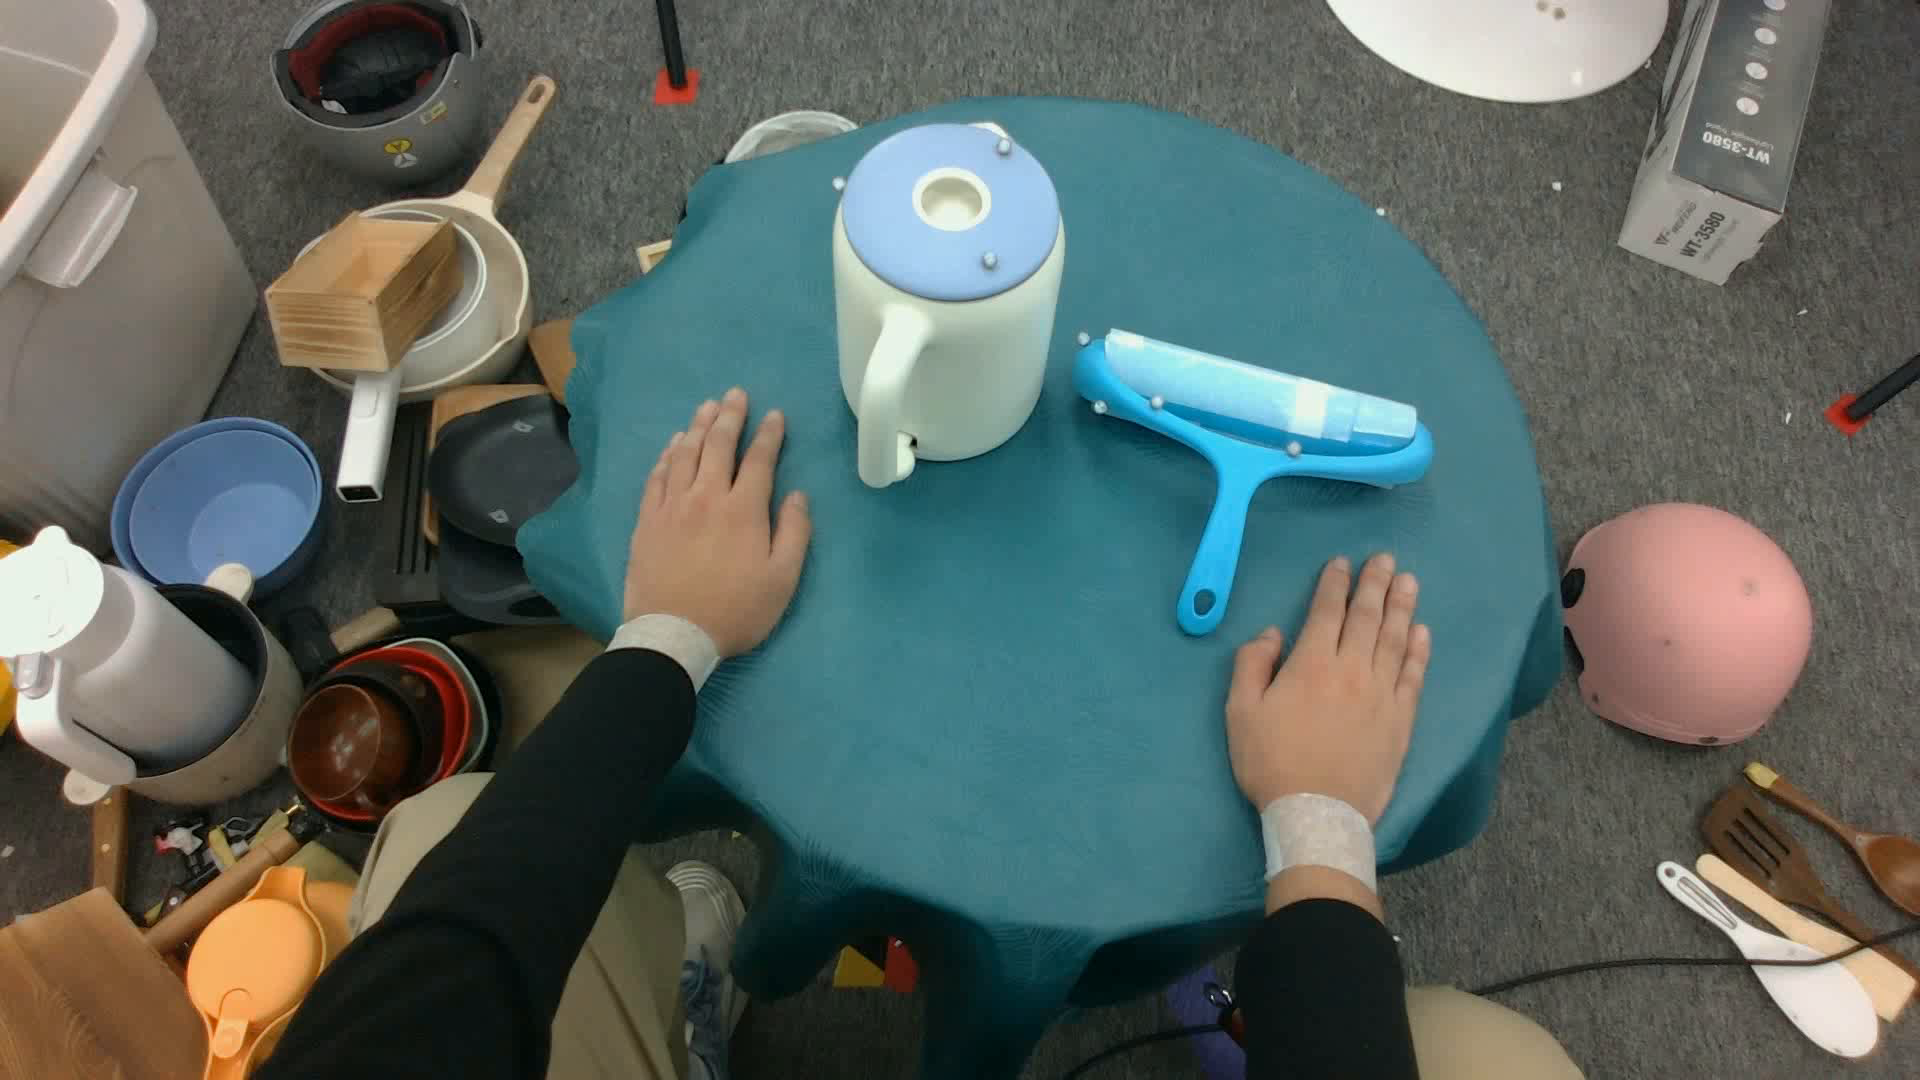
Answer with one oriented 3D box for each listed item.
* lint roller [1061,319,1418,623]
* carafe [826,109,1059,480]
[{"bbox_3d":[0.162,-0.039,0.835,0.229,0.067,0.181,15,58,0],"label":"lint roller"},{"bbox_3d":[-0.020,-0.128,0.805,0.132,0.182,0.192,18,66,6],"label":"carafe"}]
